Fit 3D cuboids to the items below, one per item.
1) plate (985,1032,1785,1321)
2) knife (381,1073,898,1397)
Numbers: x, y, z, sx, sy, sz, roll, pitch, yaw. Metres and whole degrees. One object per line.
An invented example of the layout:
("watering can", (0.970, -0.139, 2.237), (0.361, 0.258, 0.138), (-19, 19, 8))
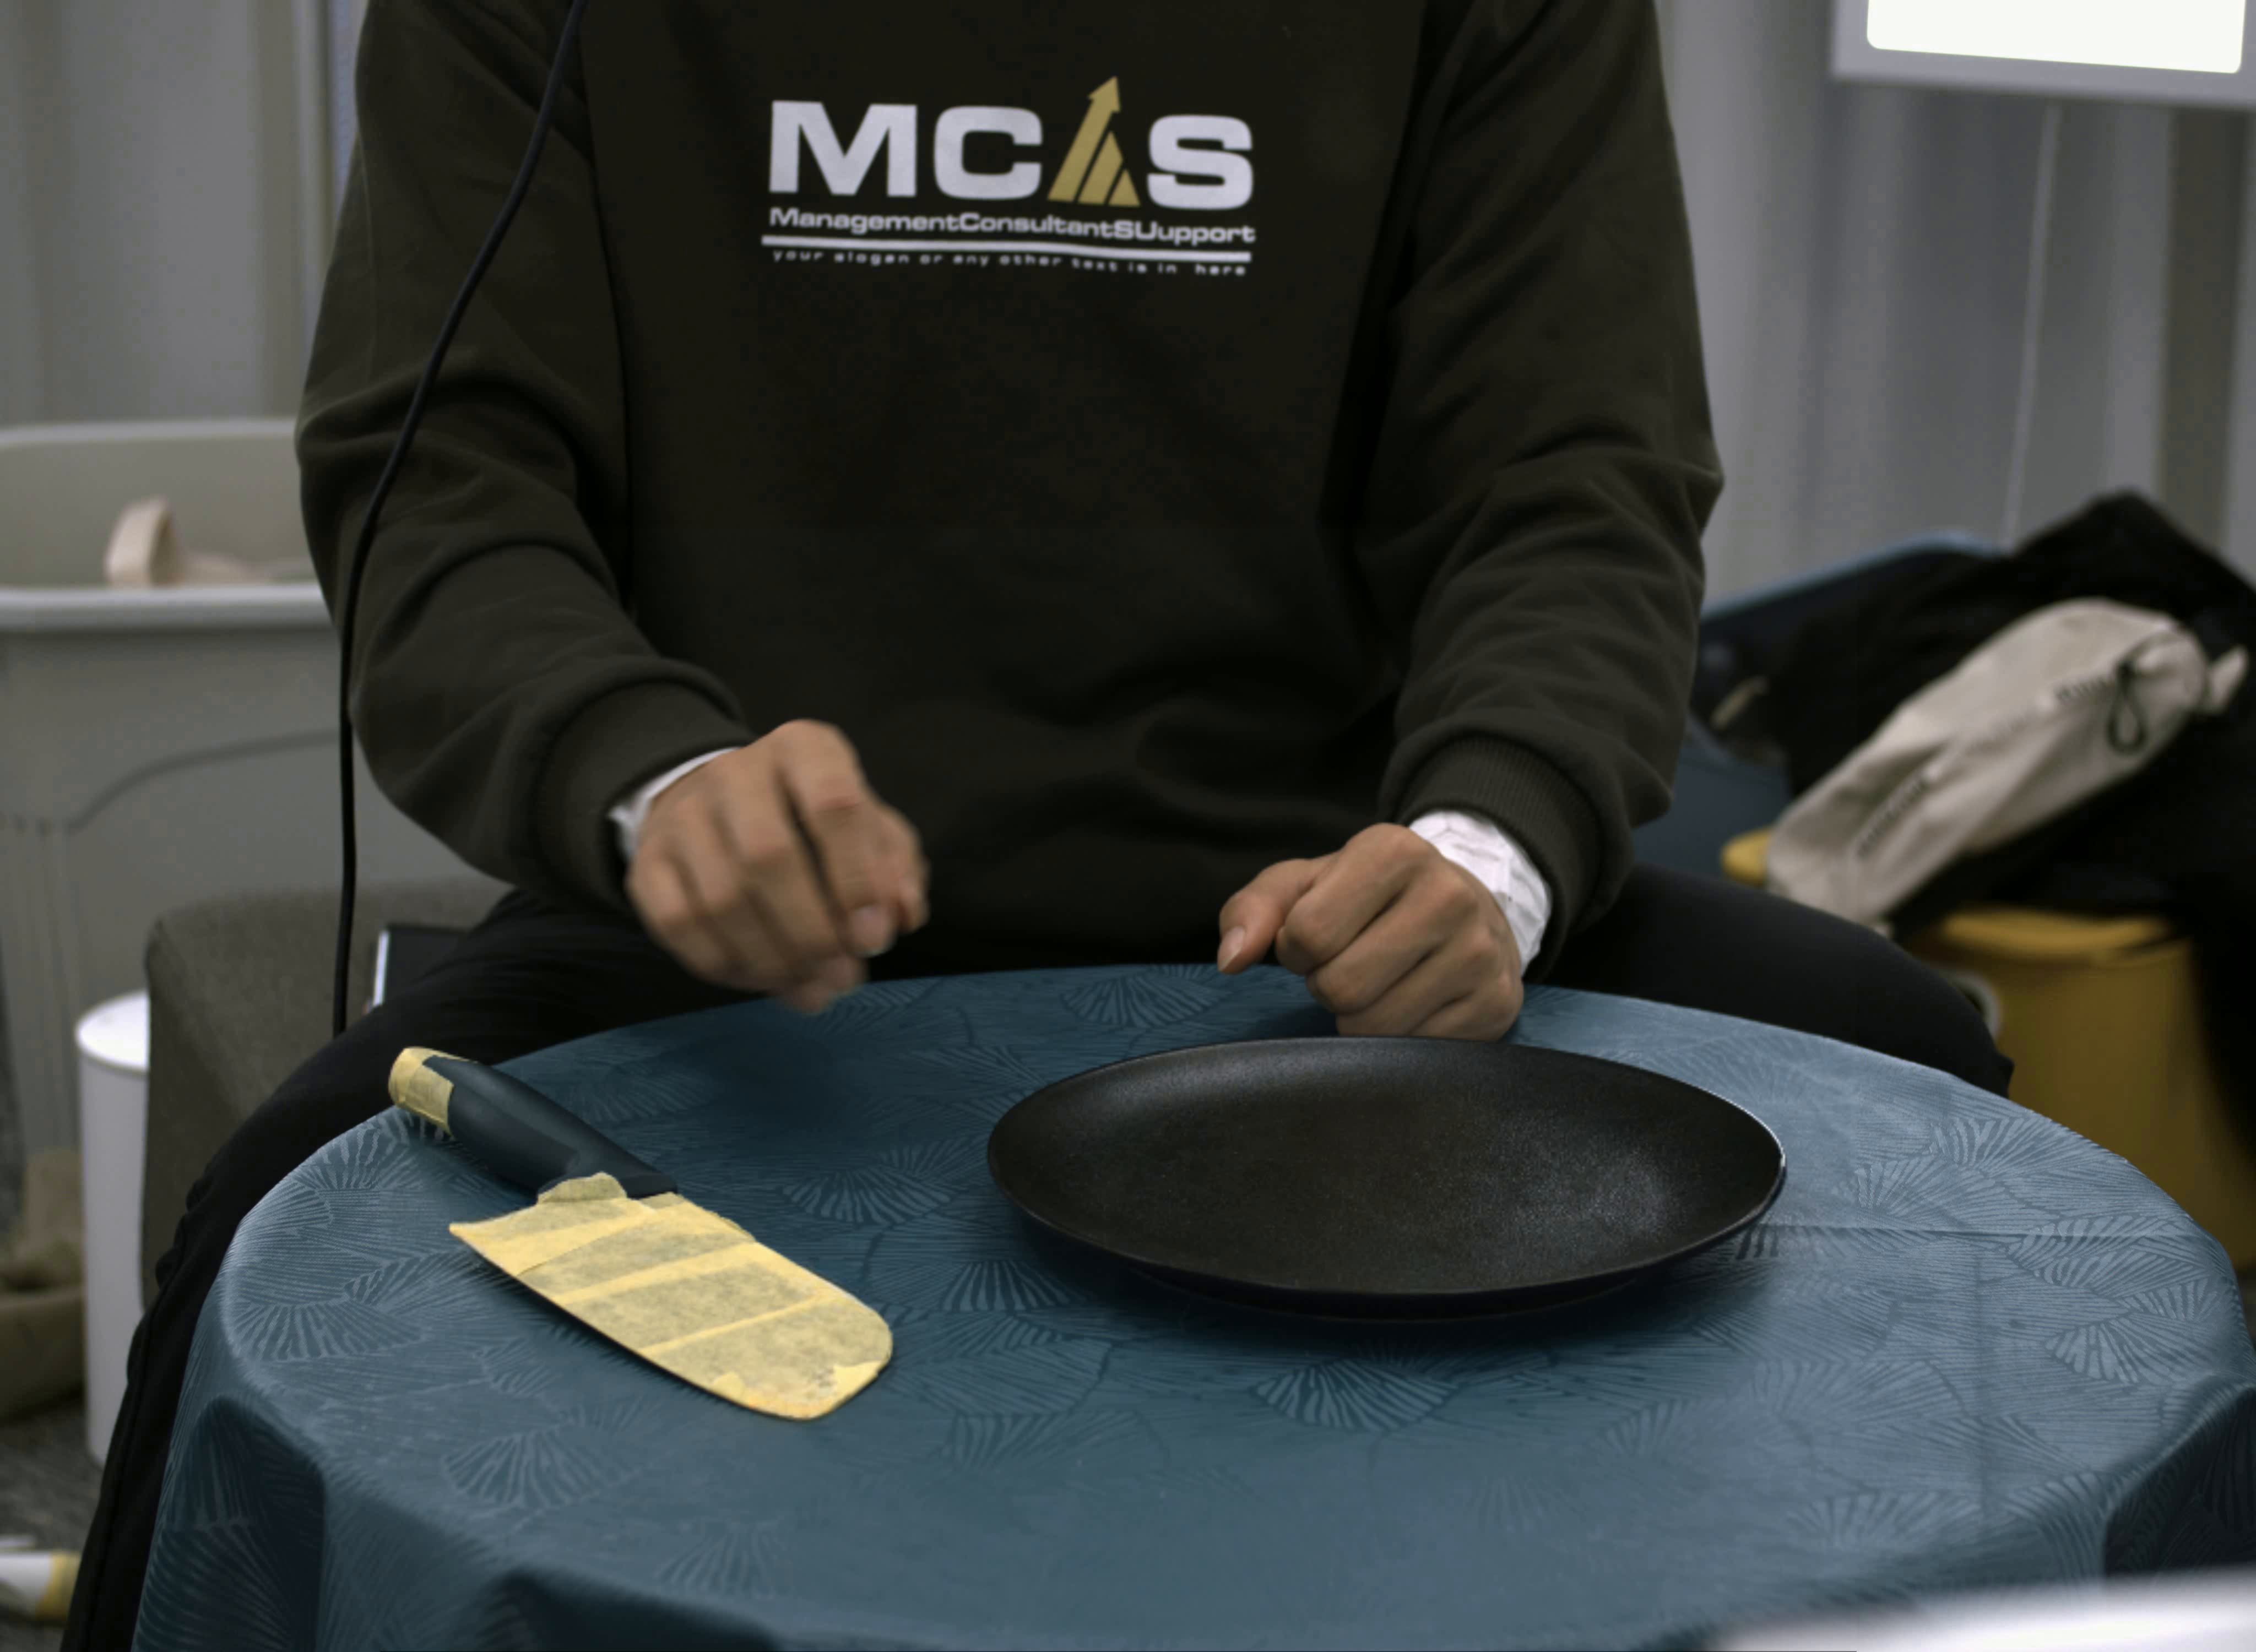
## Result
("plate", (0.077, 0.108, 1.598), (0.243, 0.023, 0.243), (1, 15, 0))
("knife", (-0.158, 0.122, 1.558), (0.081, 0.027, 0.285), (-8, 18, -34))
